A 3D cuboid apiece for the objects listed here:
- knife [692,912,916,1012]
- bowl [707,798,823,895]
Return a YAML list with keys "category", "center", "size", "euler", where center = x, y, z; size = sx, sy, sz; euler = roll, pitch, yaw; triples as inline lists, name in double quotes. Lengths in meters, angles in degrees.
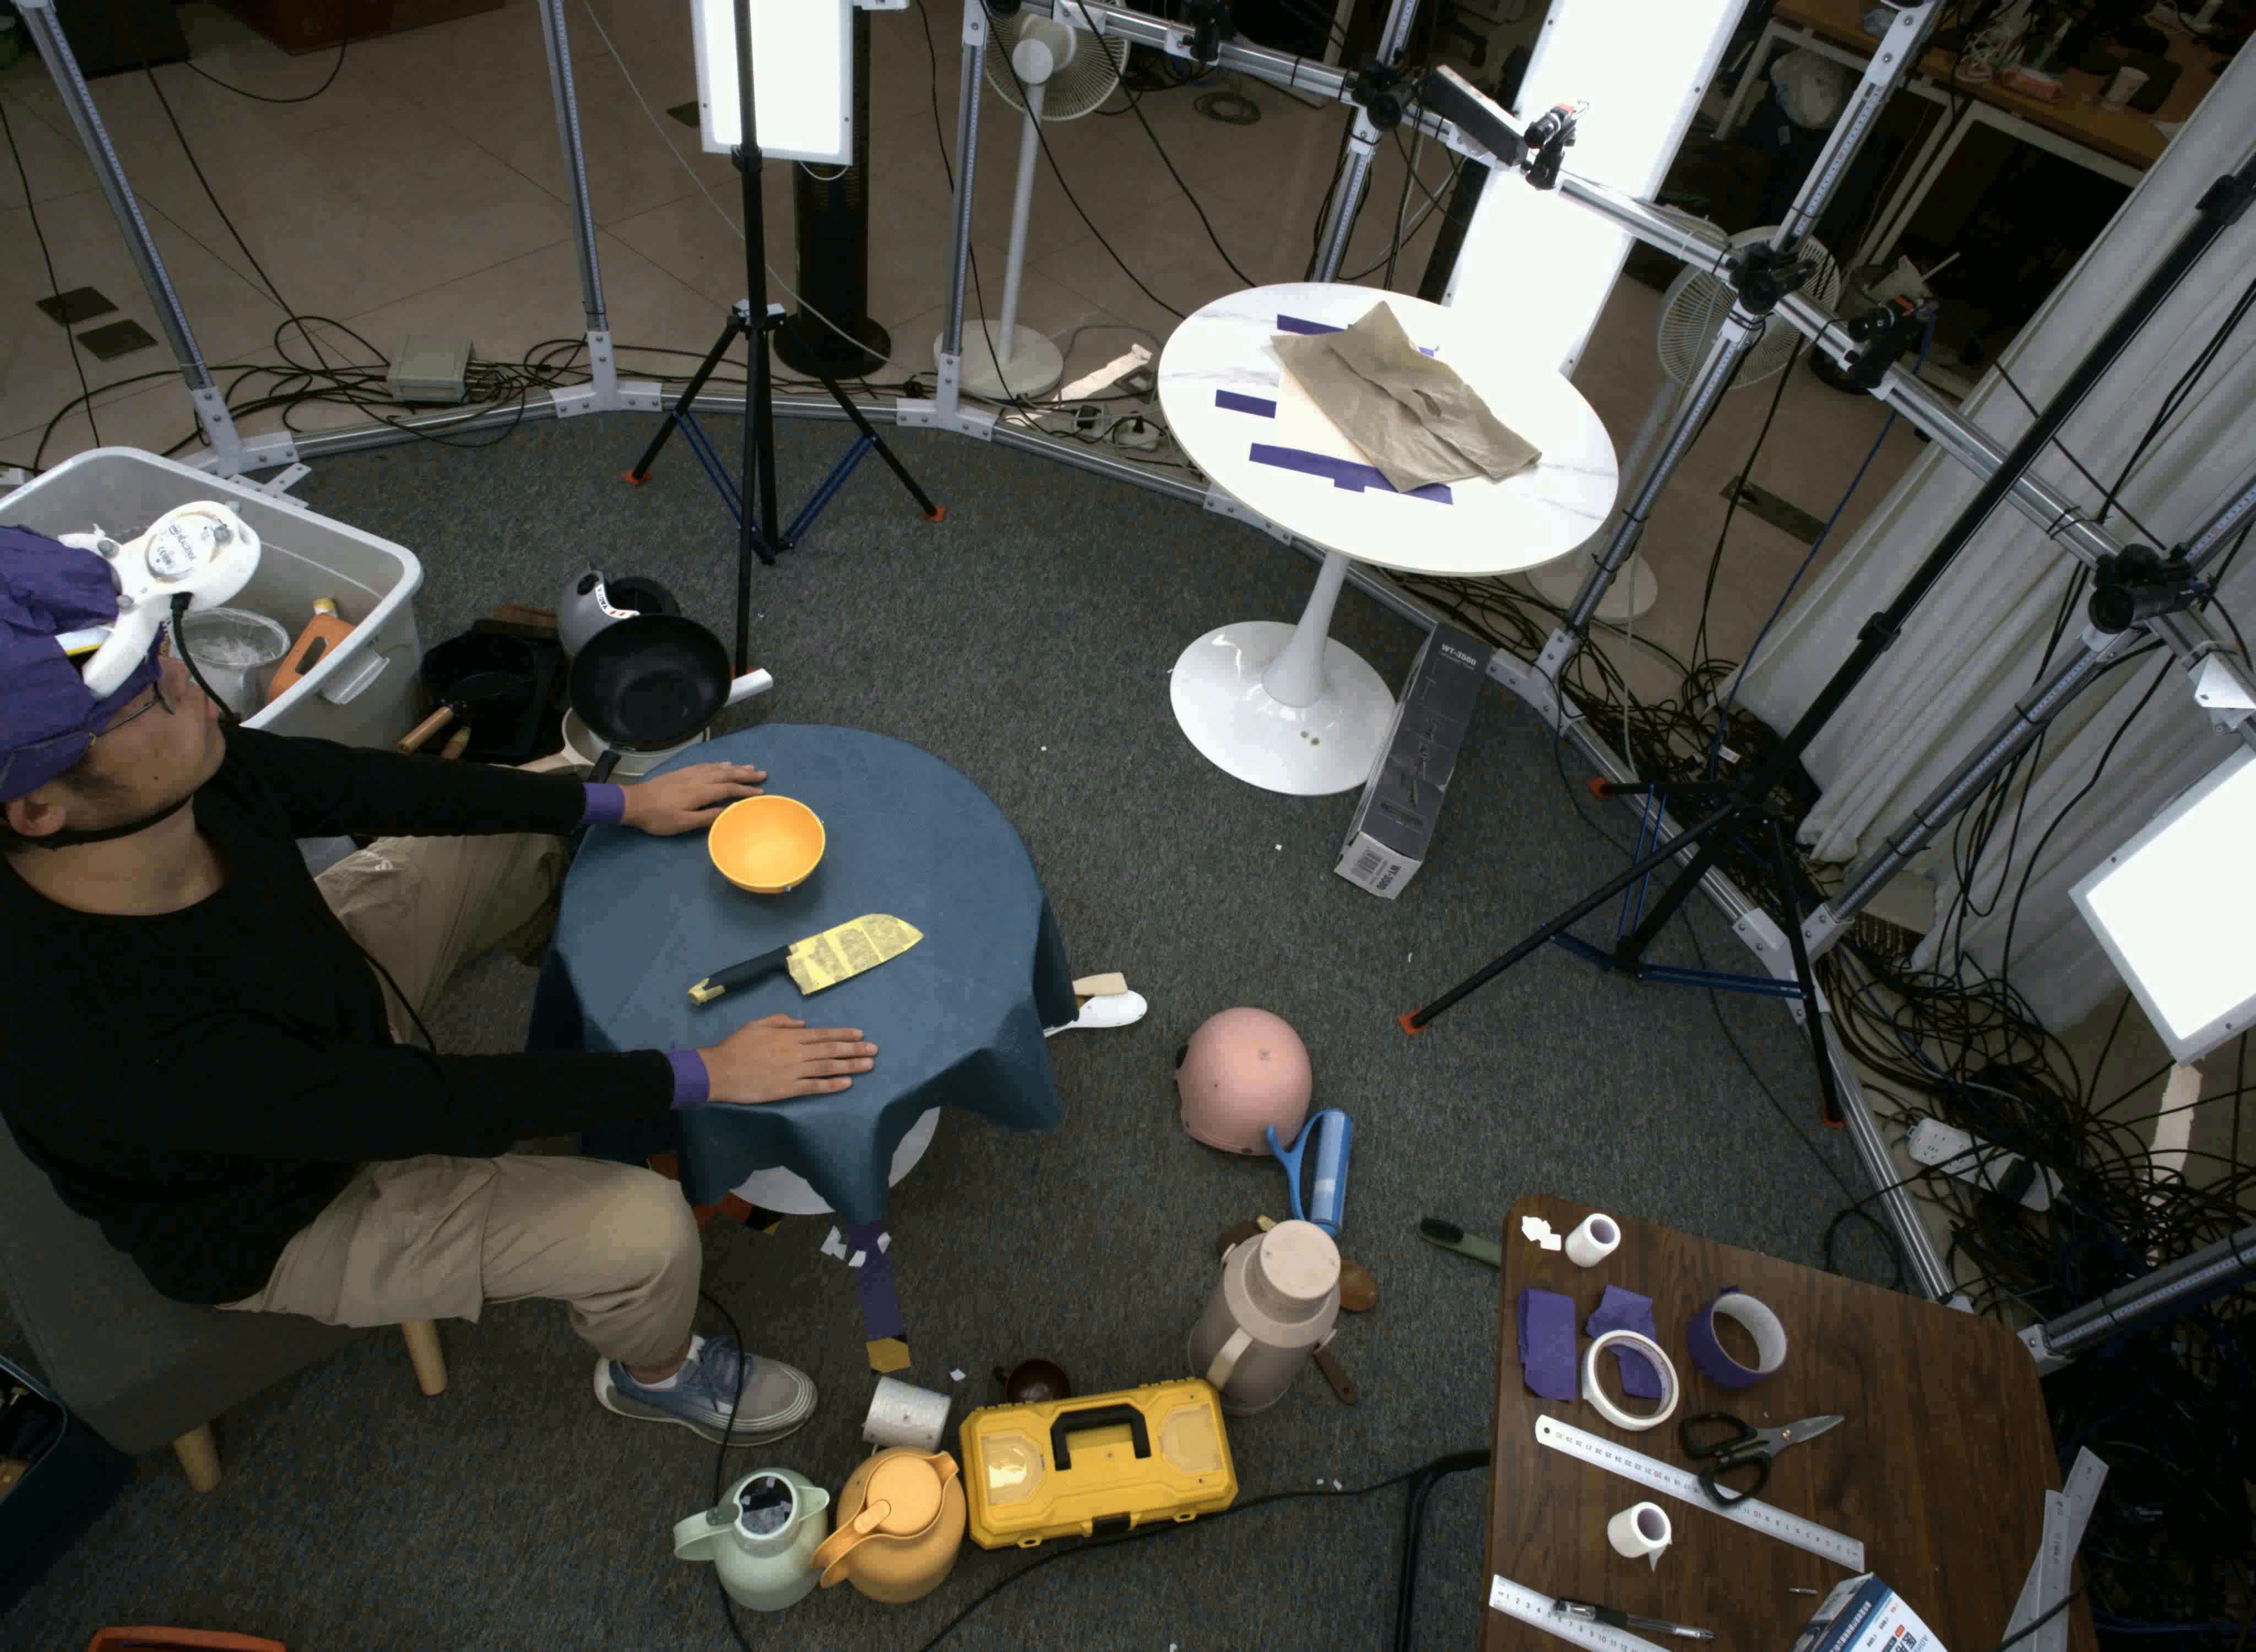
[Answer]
- category: "knife"
  center: [-0.392, 0.169, 1.594]
  size: [0.291, 0.028, 0.079]
  euler: [-21, 60, -28]
- category: "bowl"
  center: [-0.460, 0.036, 1.647]
  size: [0.145, 0.061, 0.142]
  euler: [8, 50, -7]
